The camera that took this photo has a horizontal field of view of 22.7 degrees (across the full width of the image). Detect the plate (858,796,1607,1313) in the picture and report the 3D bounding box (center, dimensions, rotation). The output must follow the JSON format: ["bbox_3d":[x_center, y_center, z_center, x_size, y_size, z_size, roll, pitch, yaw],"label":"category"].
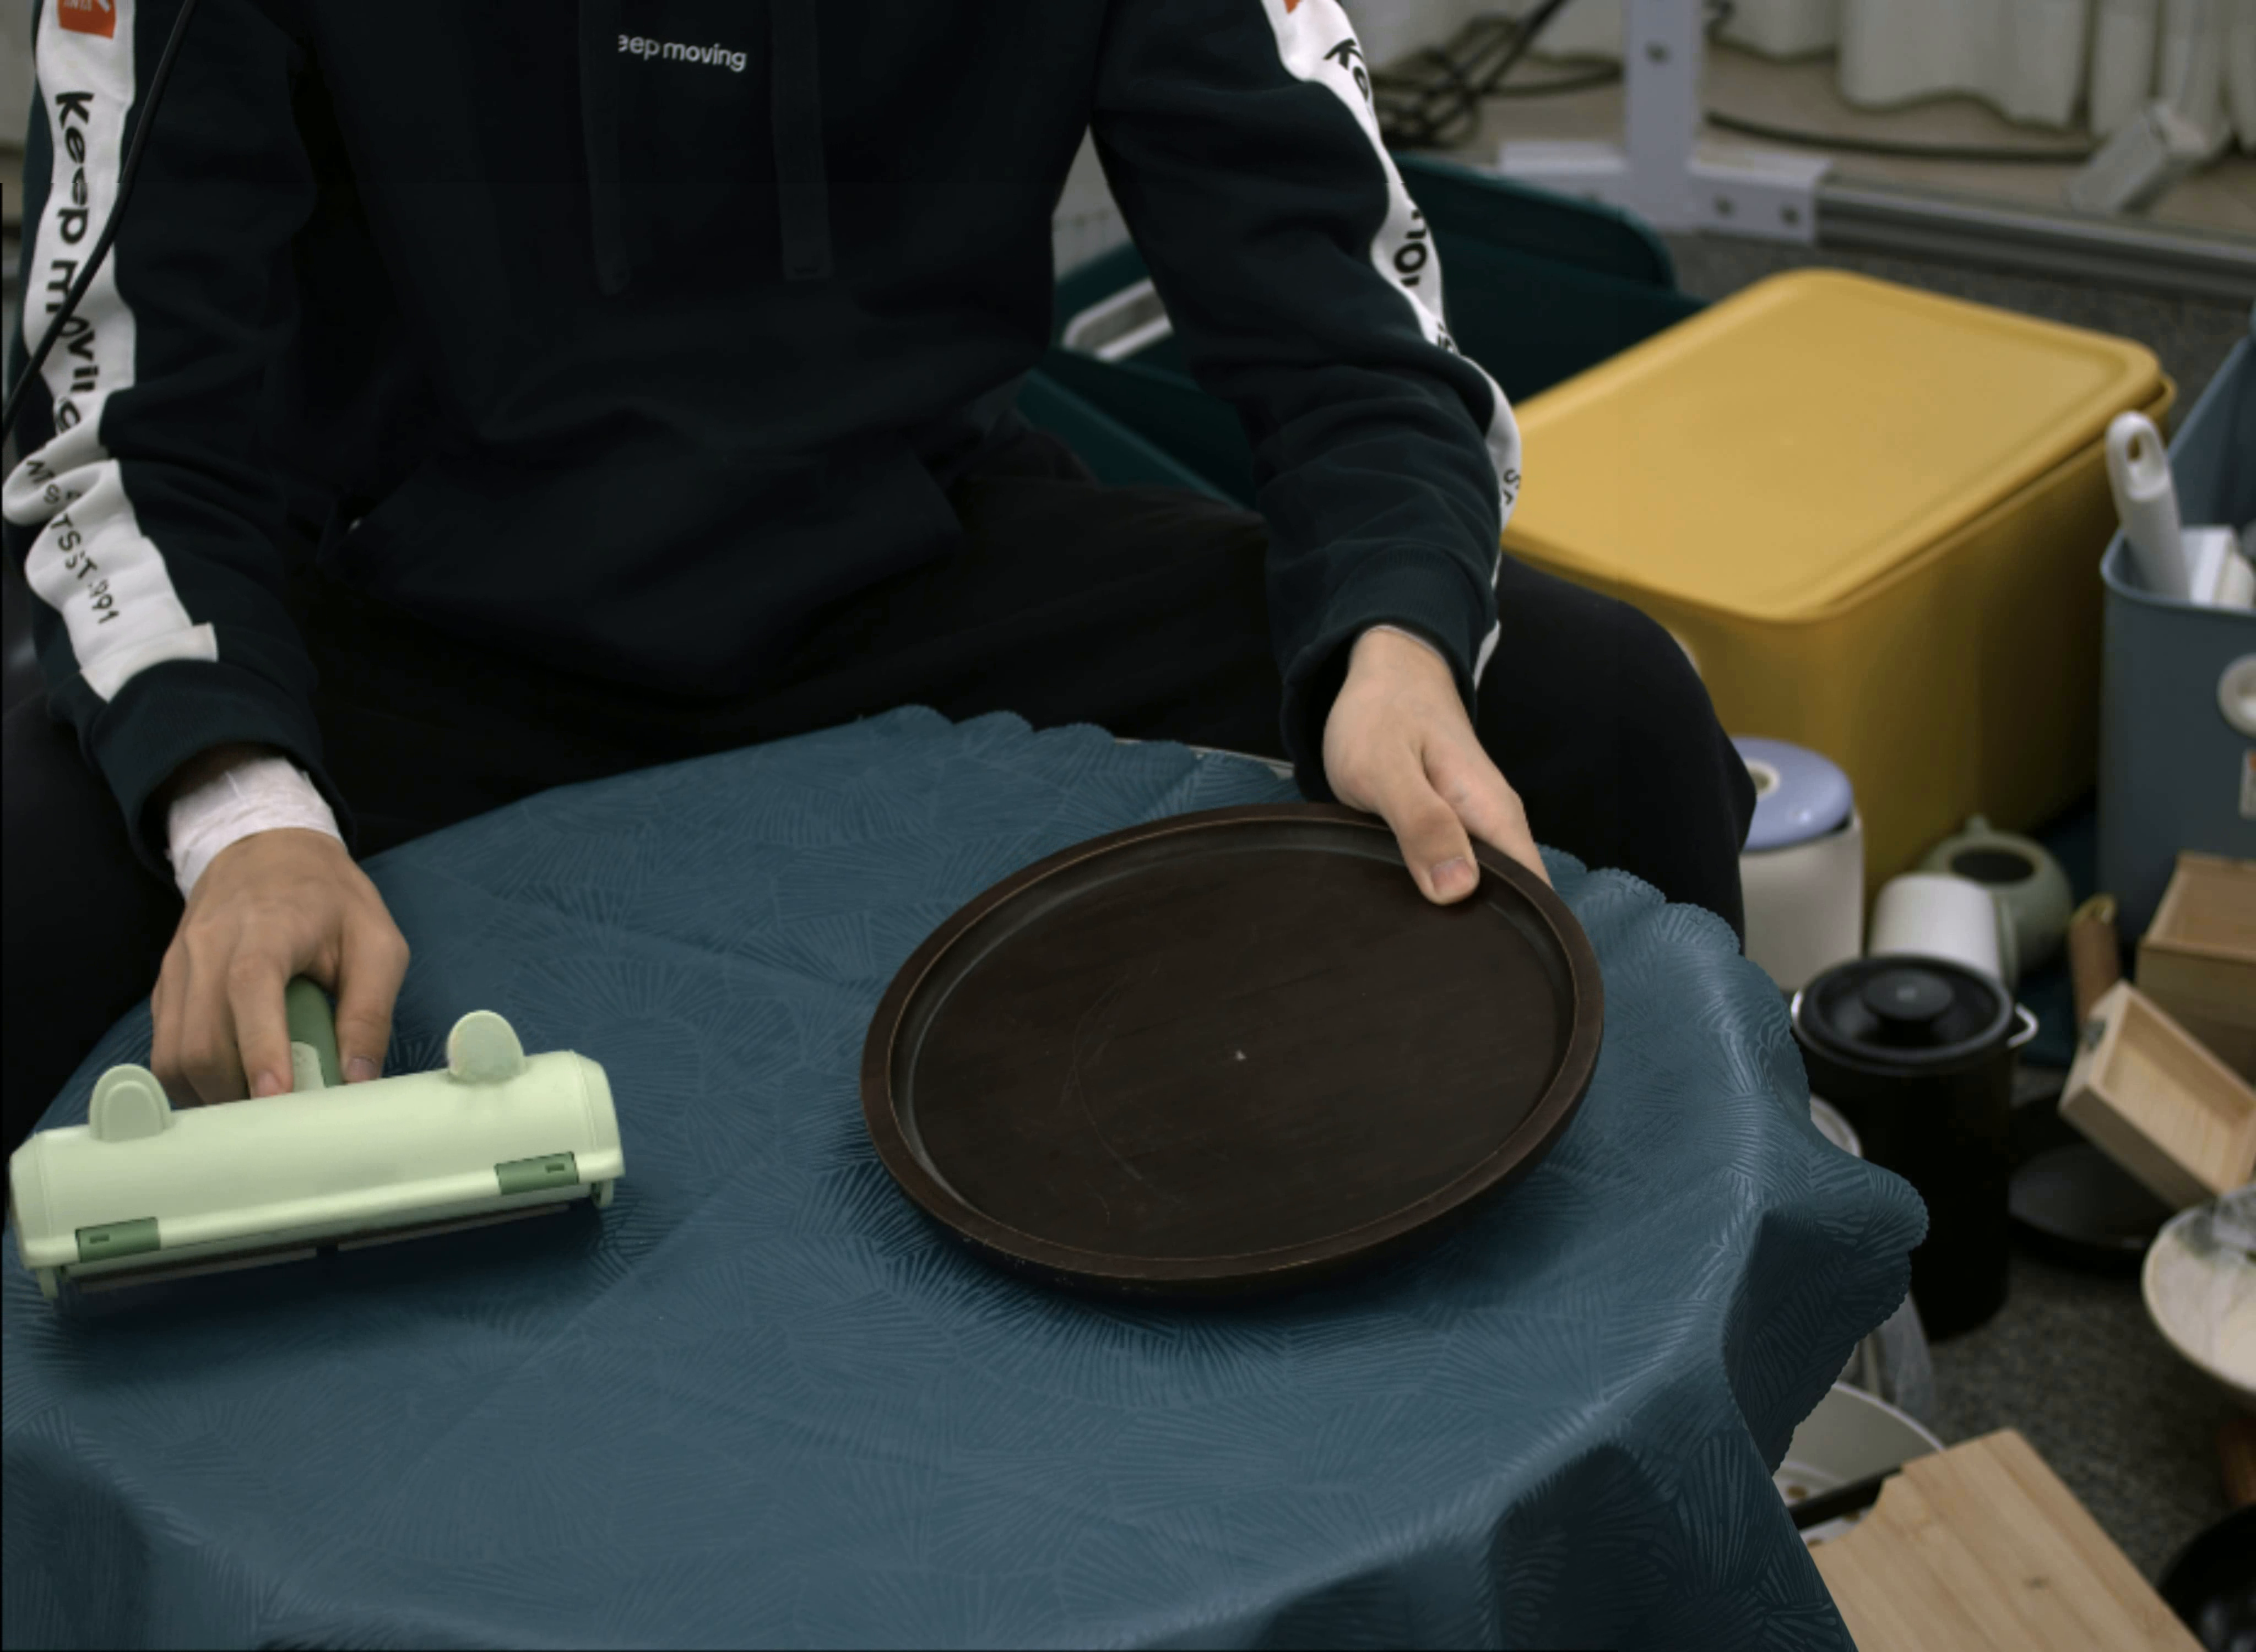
[{"bbox_3d":[0.035,0.076,1.879,0.253,0.028,0.259,-7,36,5],"label":"plate"}]

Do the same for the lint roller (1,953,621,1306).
[{"bbox_3d":[-0.280,0.077,1.872,0.198,0.081,0.186,-9,37,-13],"label":"lint roller"}]
